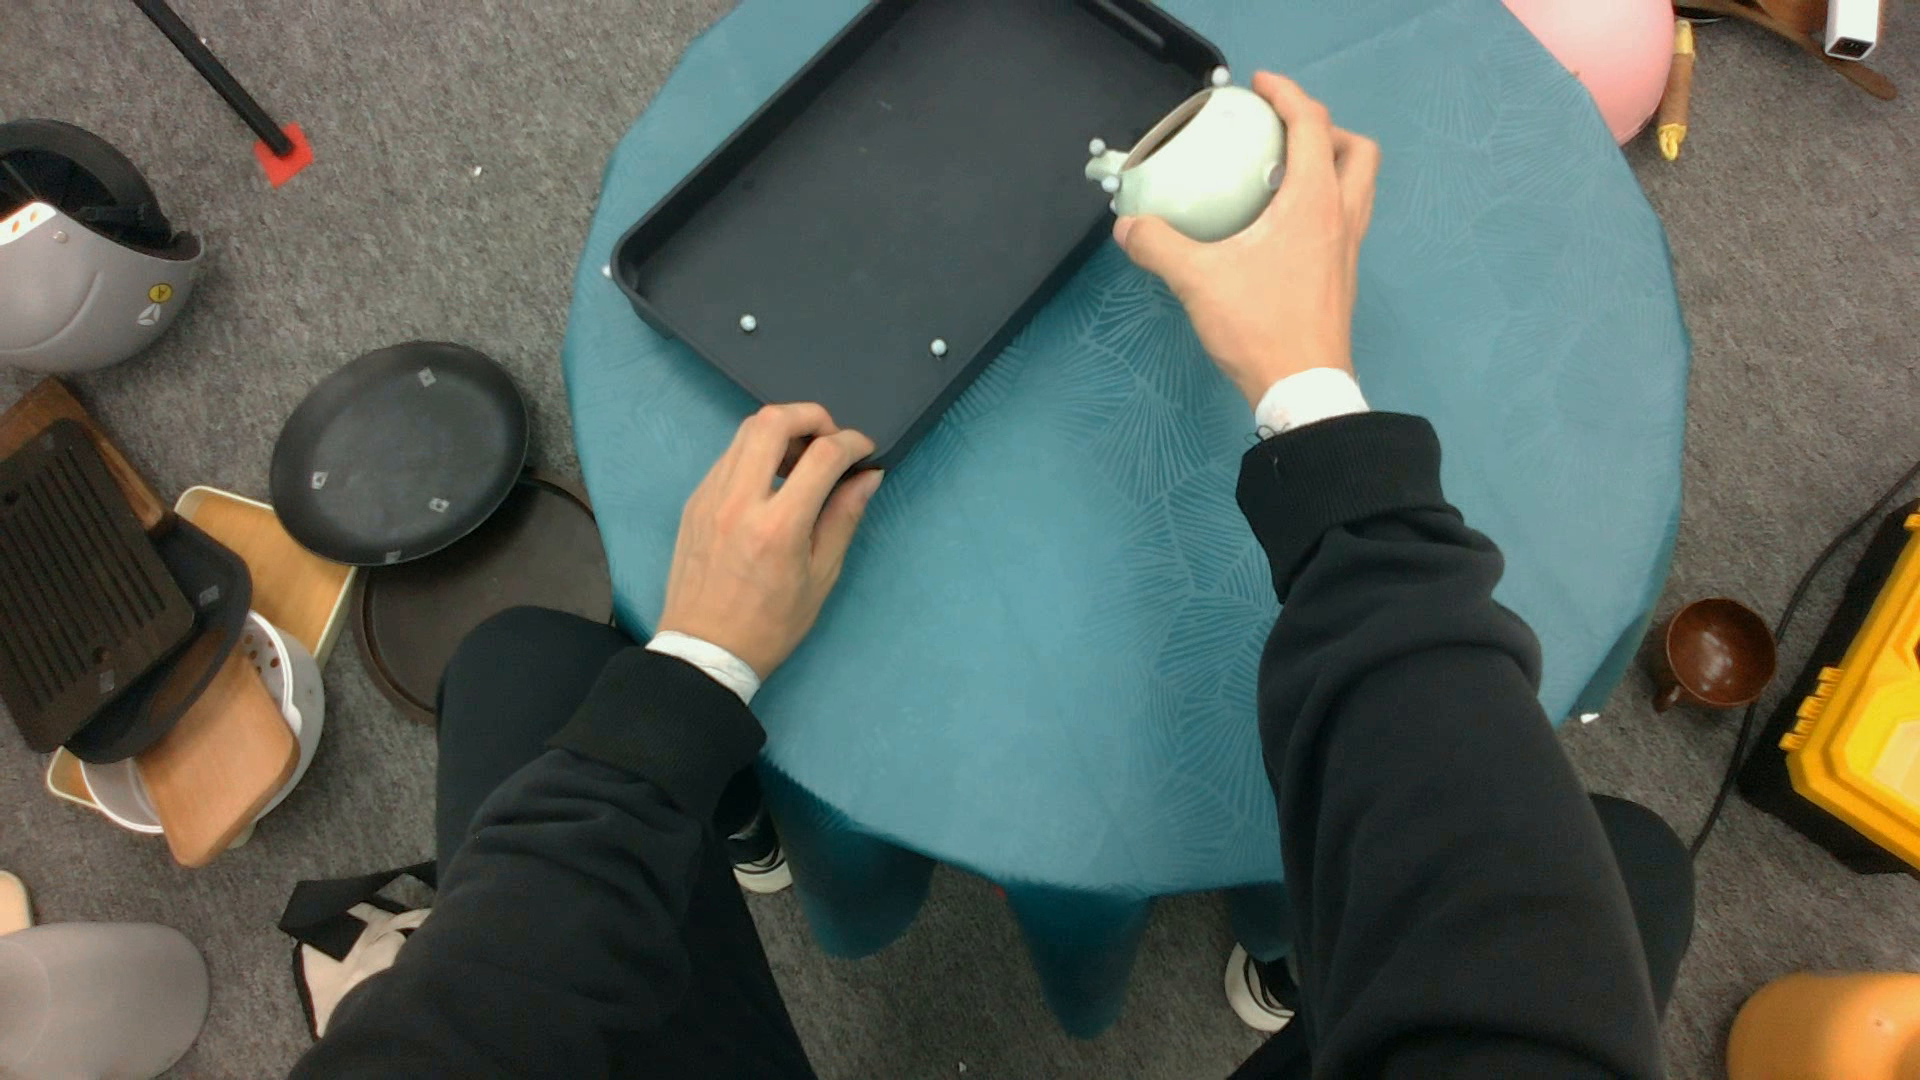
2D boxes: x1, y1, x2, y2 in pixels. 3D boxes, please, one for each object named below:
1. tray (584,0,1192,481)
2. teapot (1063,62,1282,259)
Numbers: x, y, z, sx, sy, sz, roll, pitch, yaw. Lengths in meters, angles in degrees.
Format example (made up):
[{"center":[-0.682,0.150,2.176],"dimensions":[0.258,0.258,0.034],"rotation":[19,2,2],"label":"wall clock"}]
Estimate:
[{"center":[-0.033,-0.195,0.741],"dimensions":[0.184,0.037,0.319],"rotation":[36,73,10],"label":"tray"},{"center":[0.107,-0.178,0.658],"dimensions":[0.074,0.143,0.088],"rotation":[46,73,-18],"label":"teapot"}]
